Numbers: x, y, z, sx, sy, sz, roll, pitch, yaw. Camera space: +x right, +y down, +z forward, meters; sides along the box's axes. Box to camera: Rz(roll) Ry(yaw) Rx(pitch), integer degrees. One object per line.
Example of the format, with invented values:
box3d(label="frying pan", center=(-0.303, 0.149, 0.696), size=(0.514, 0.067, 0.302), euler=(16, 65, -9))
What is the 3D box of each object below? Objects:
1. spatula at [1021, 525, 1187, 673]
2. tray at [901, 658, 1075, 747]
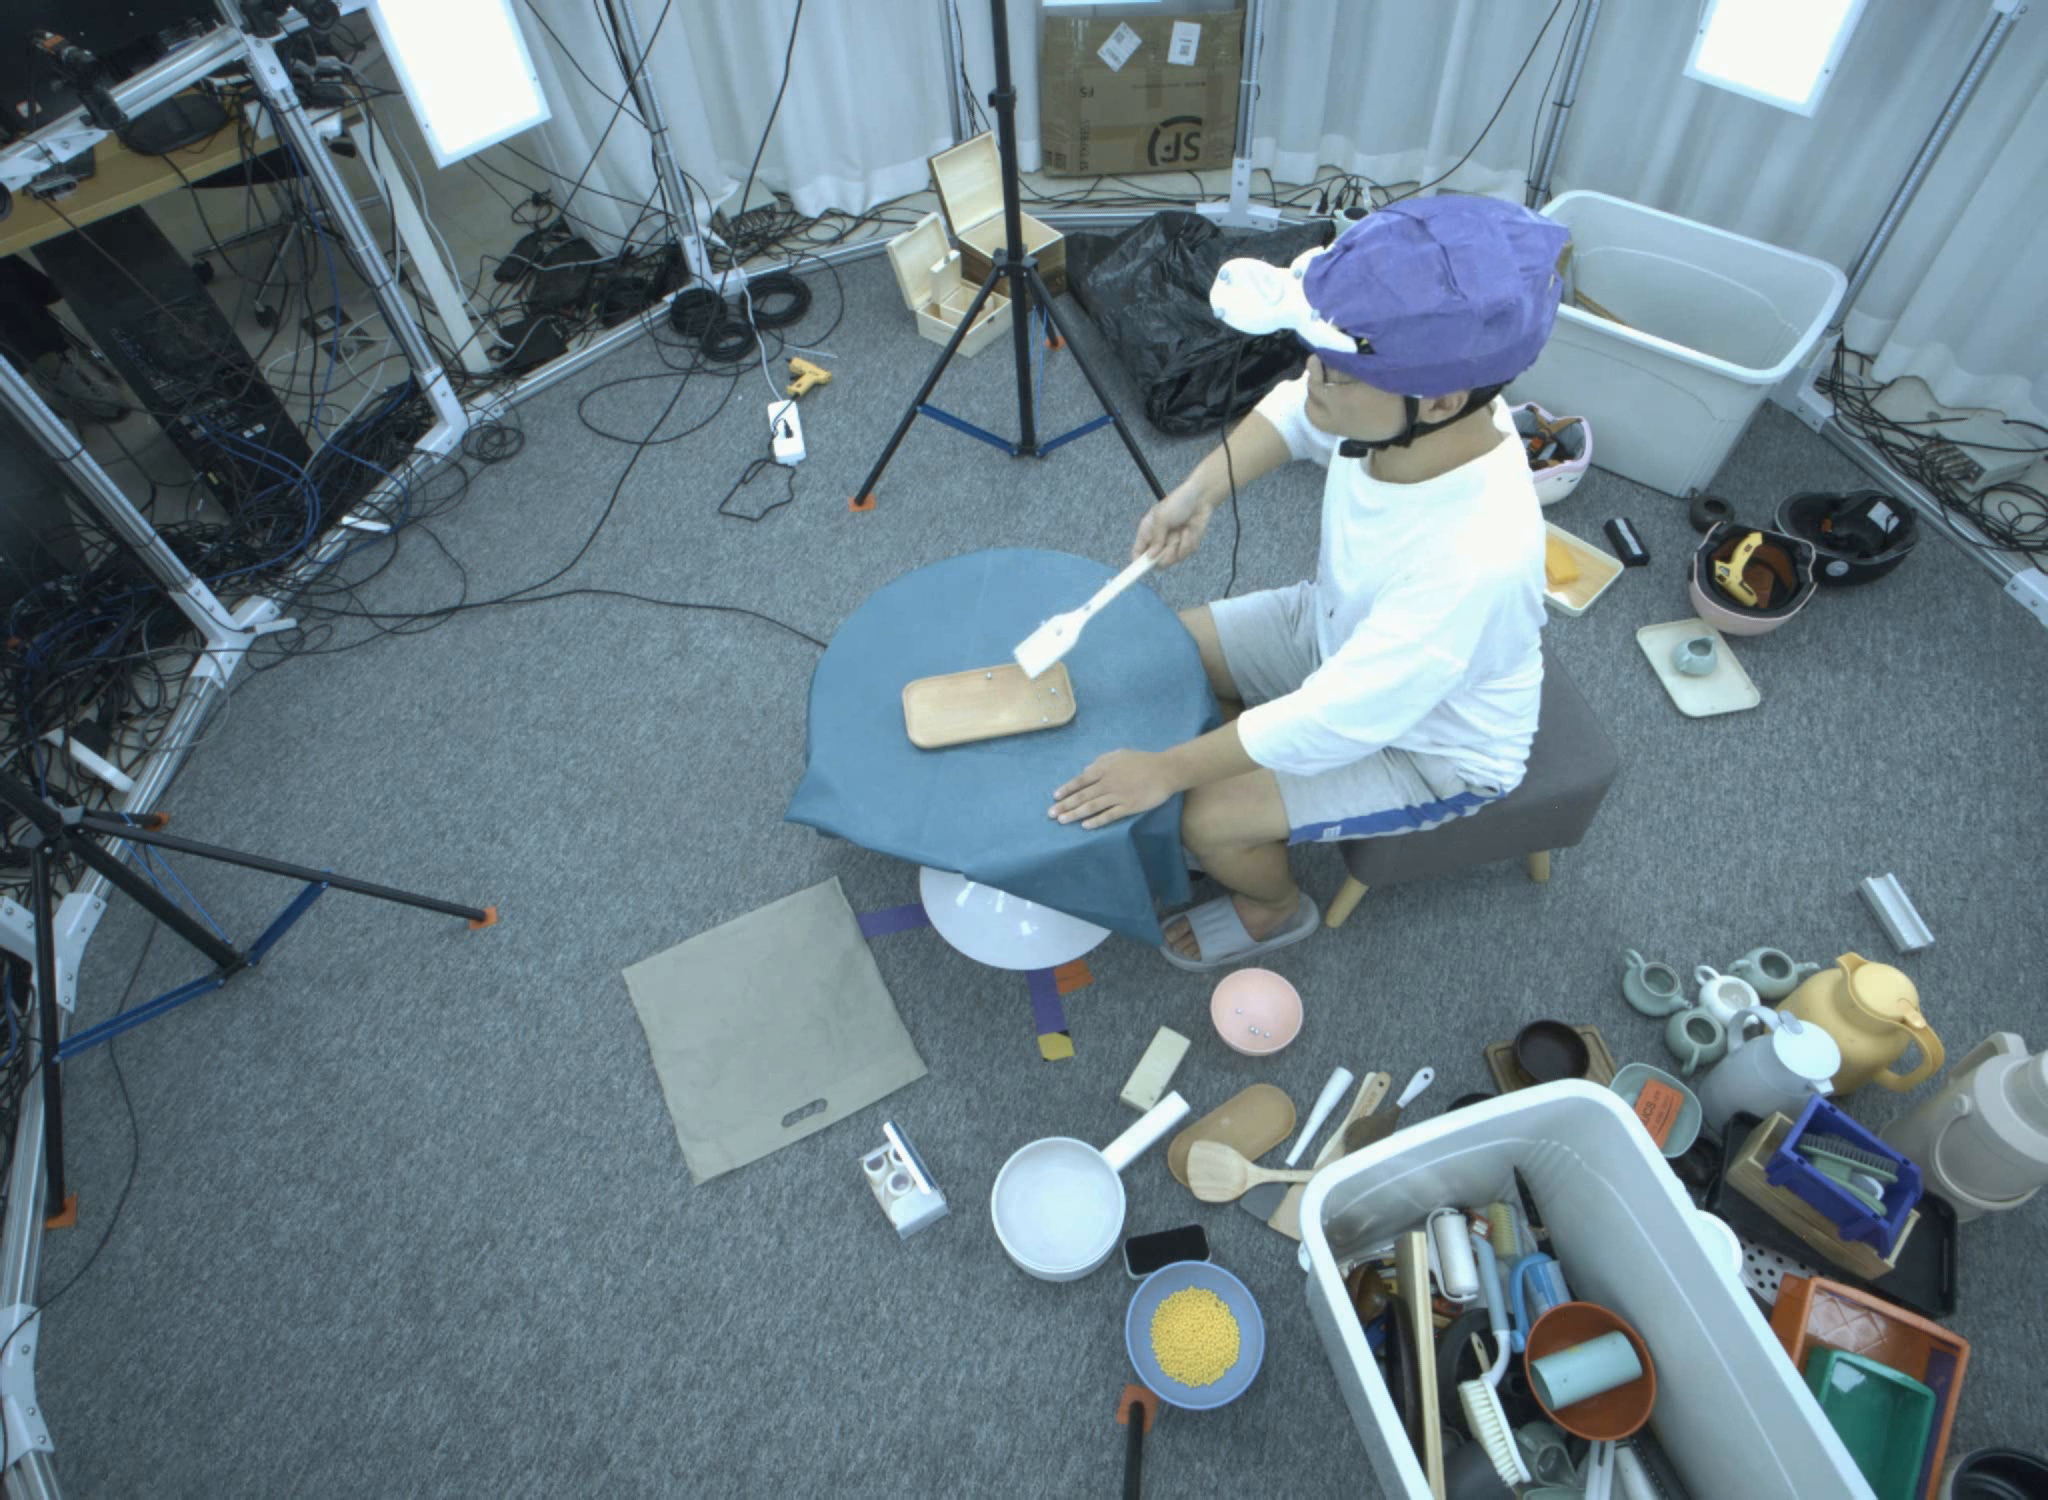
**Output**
box3d(label="spatula", center=(0.117, -0.223, 1.760), size=(0.292, 0.011, 0.071), euler=(-40, 50, 9))
box3d(label="tray", center=(-0.054, -0.071, 1.827), size=(0.251, 0.023, 0.128), euler=(-9, 52, -4))
